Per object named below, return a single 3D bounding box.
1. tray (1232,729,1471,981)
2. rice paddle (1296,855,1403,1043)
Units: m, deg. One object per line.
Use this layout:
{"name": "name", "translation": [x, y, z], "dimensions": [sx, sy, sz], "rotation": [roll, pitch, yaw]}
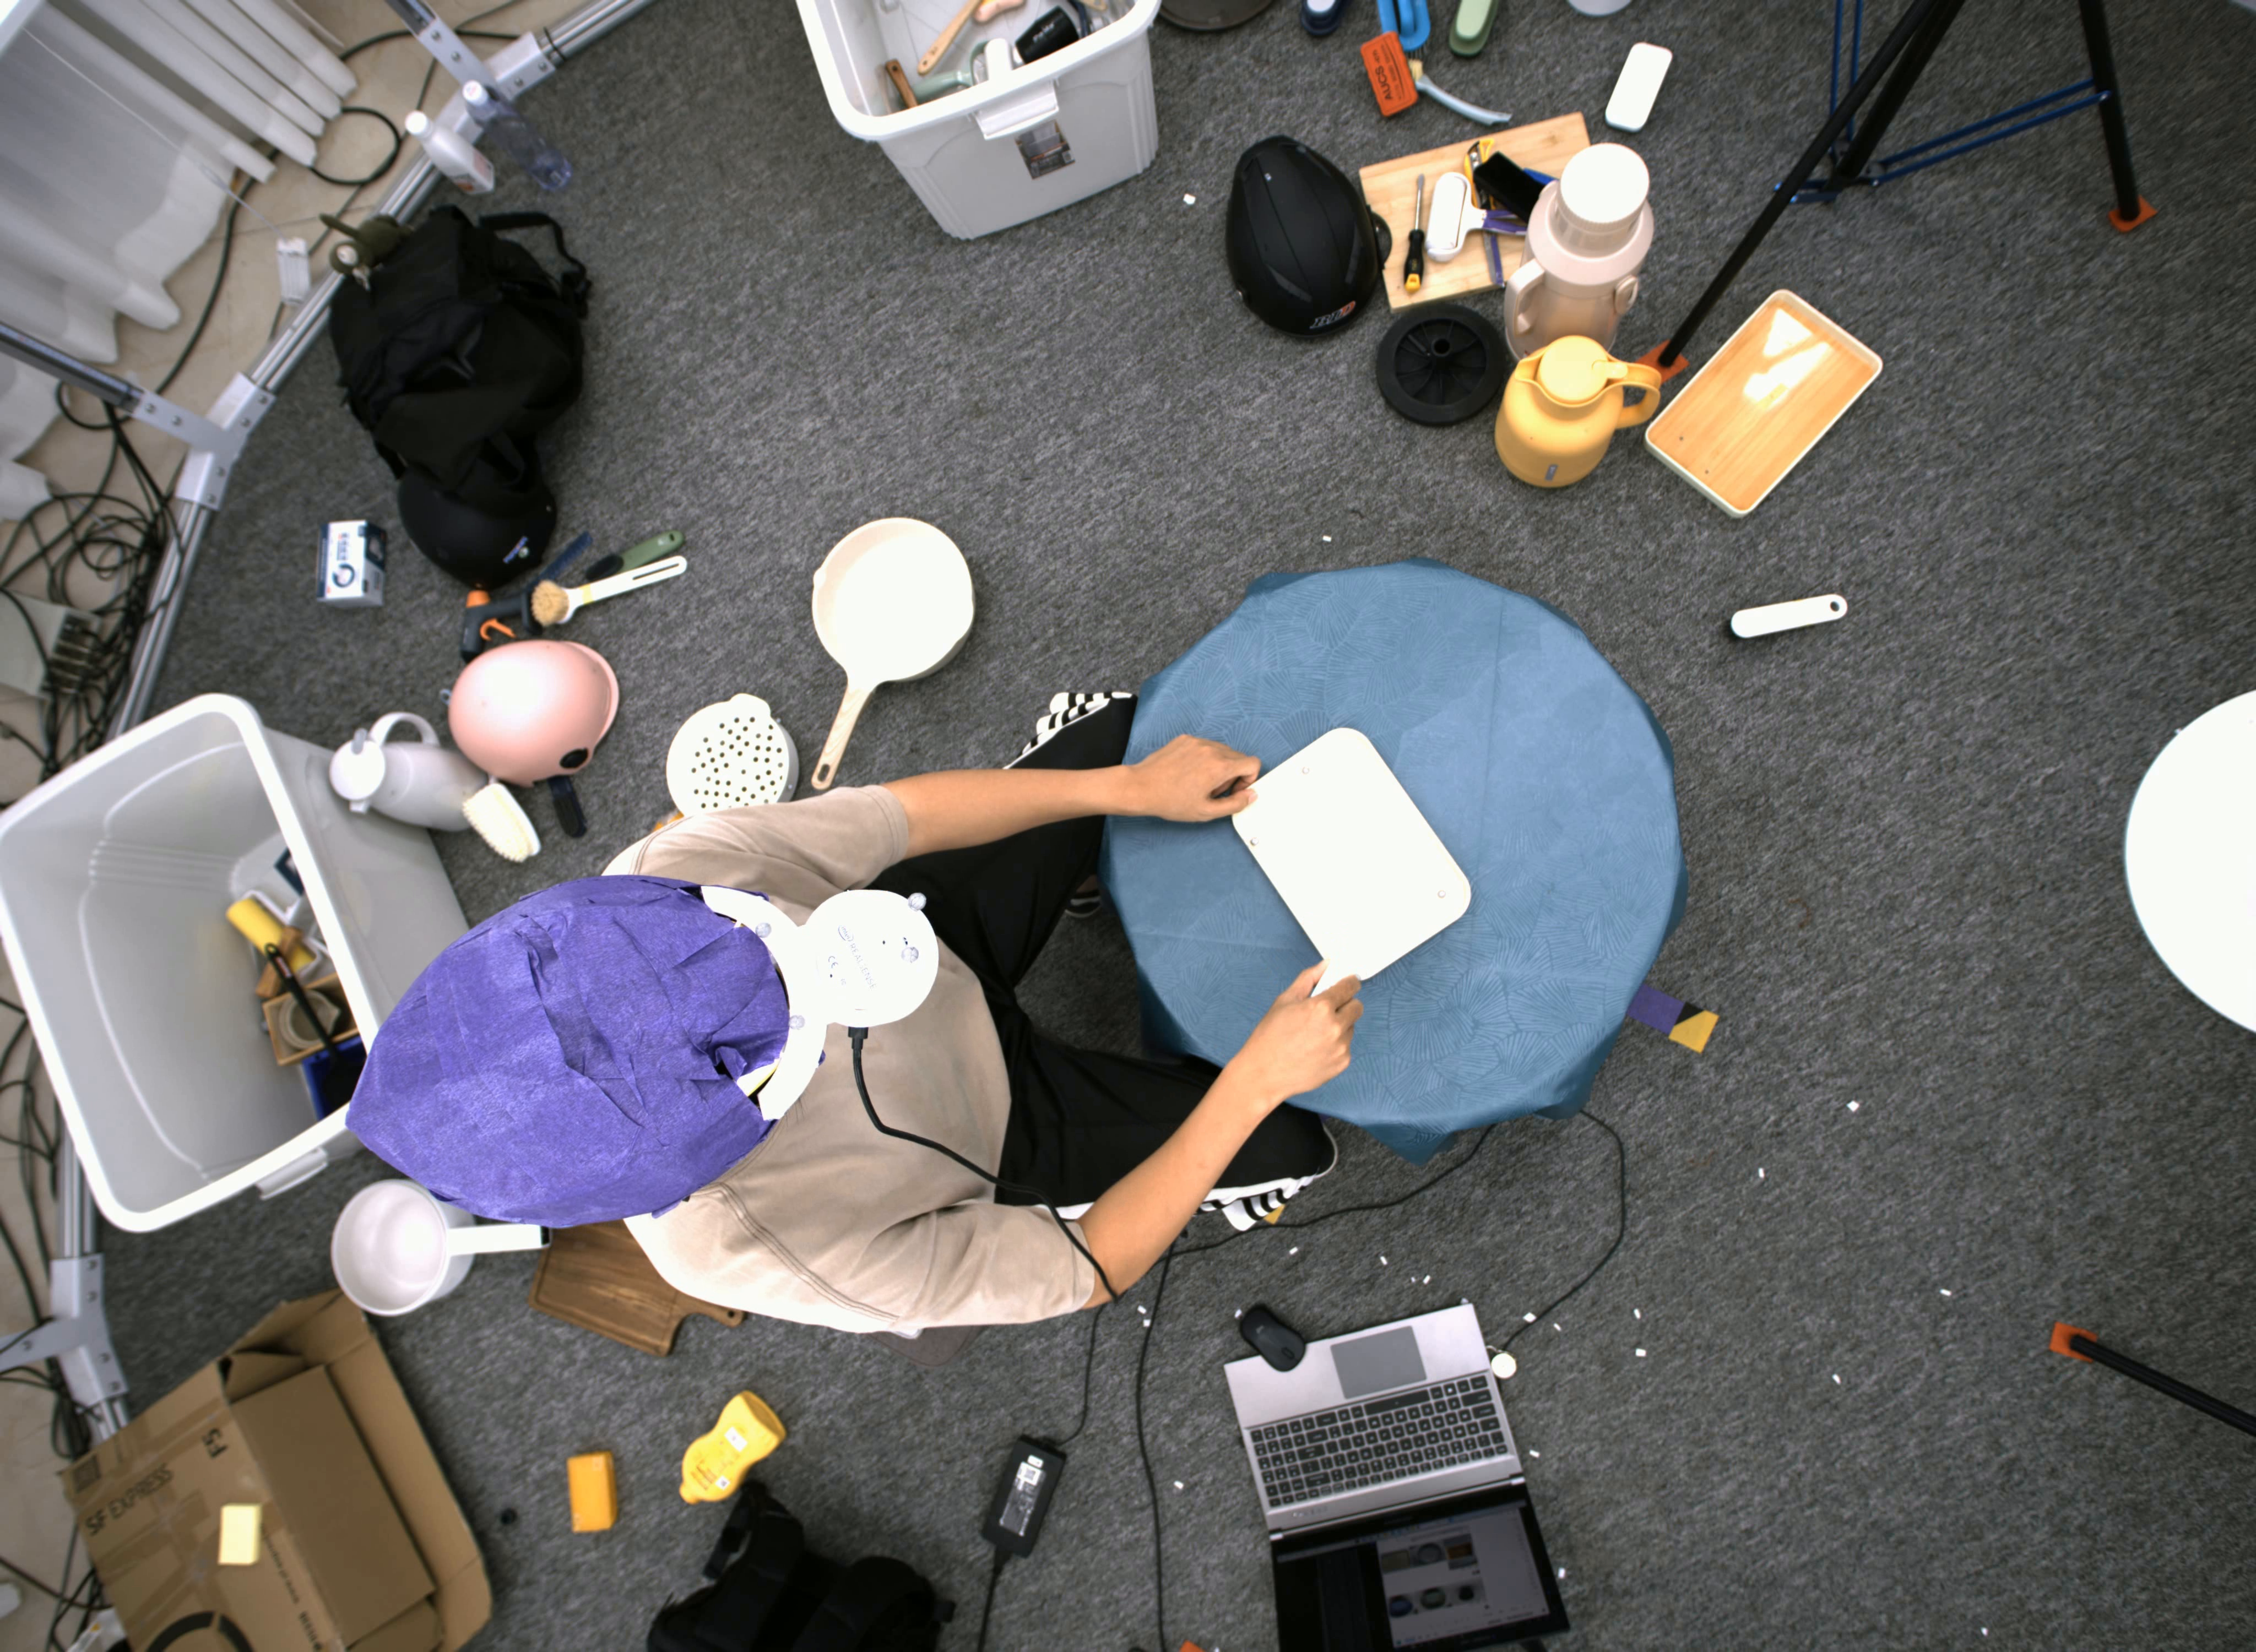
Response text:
{"name": "tray", "translation": [0.235, 0.029, 1.461], "dimensions": [0.172, 0.017, 0.238], "rotation": [-35, 81, 6]}
{"name": "rice paddle", "translation": [0.205, 0.108, 1.300], "dimensions": [0.069, 0.030, 0.201], "rotation": [21, 63, 11]}
